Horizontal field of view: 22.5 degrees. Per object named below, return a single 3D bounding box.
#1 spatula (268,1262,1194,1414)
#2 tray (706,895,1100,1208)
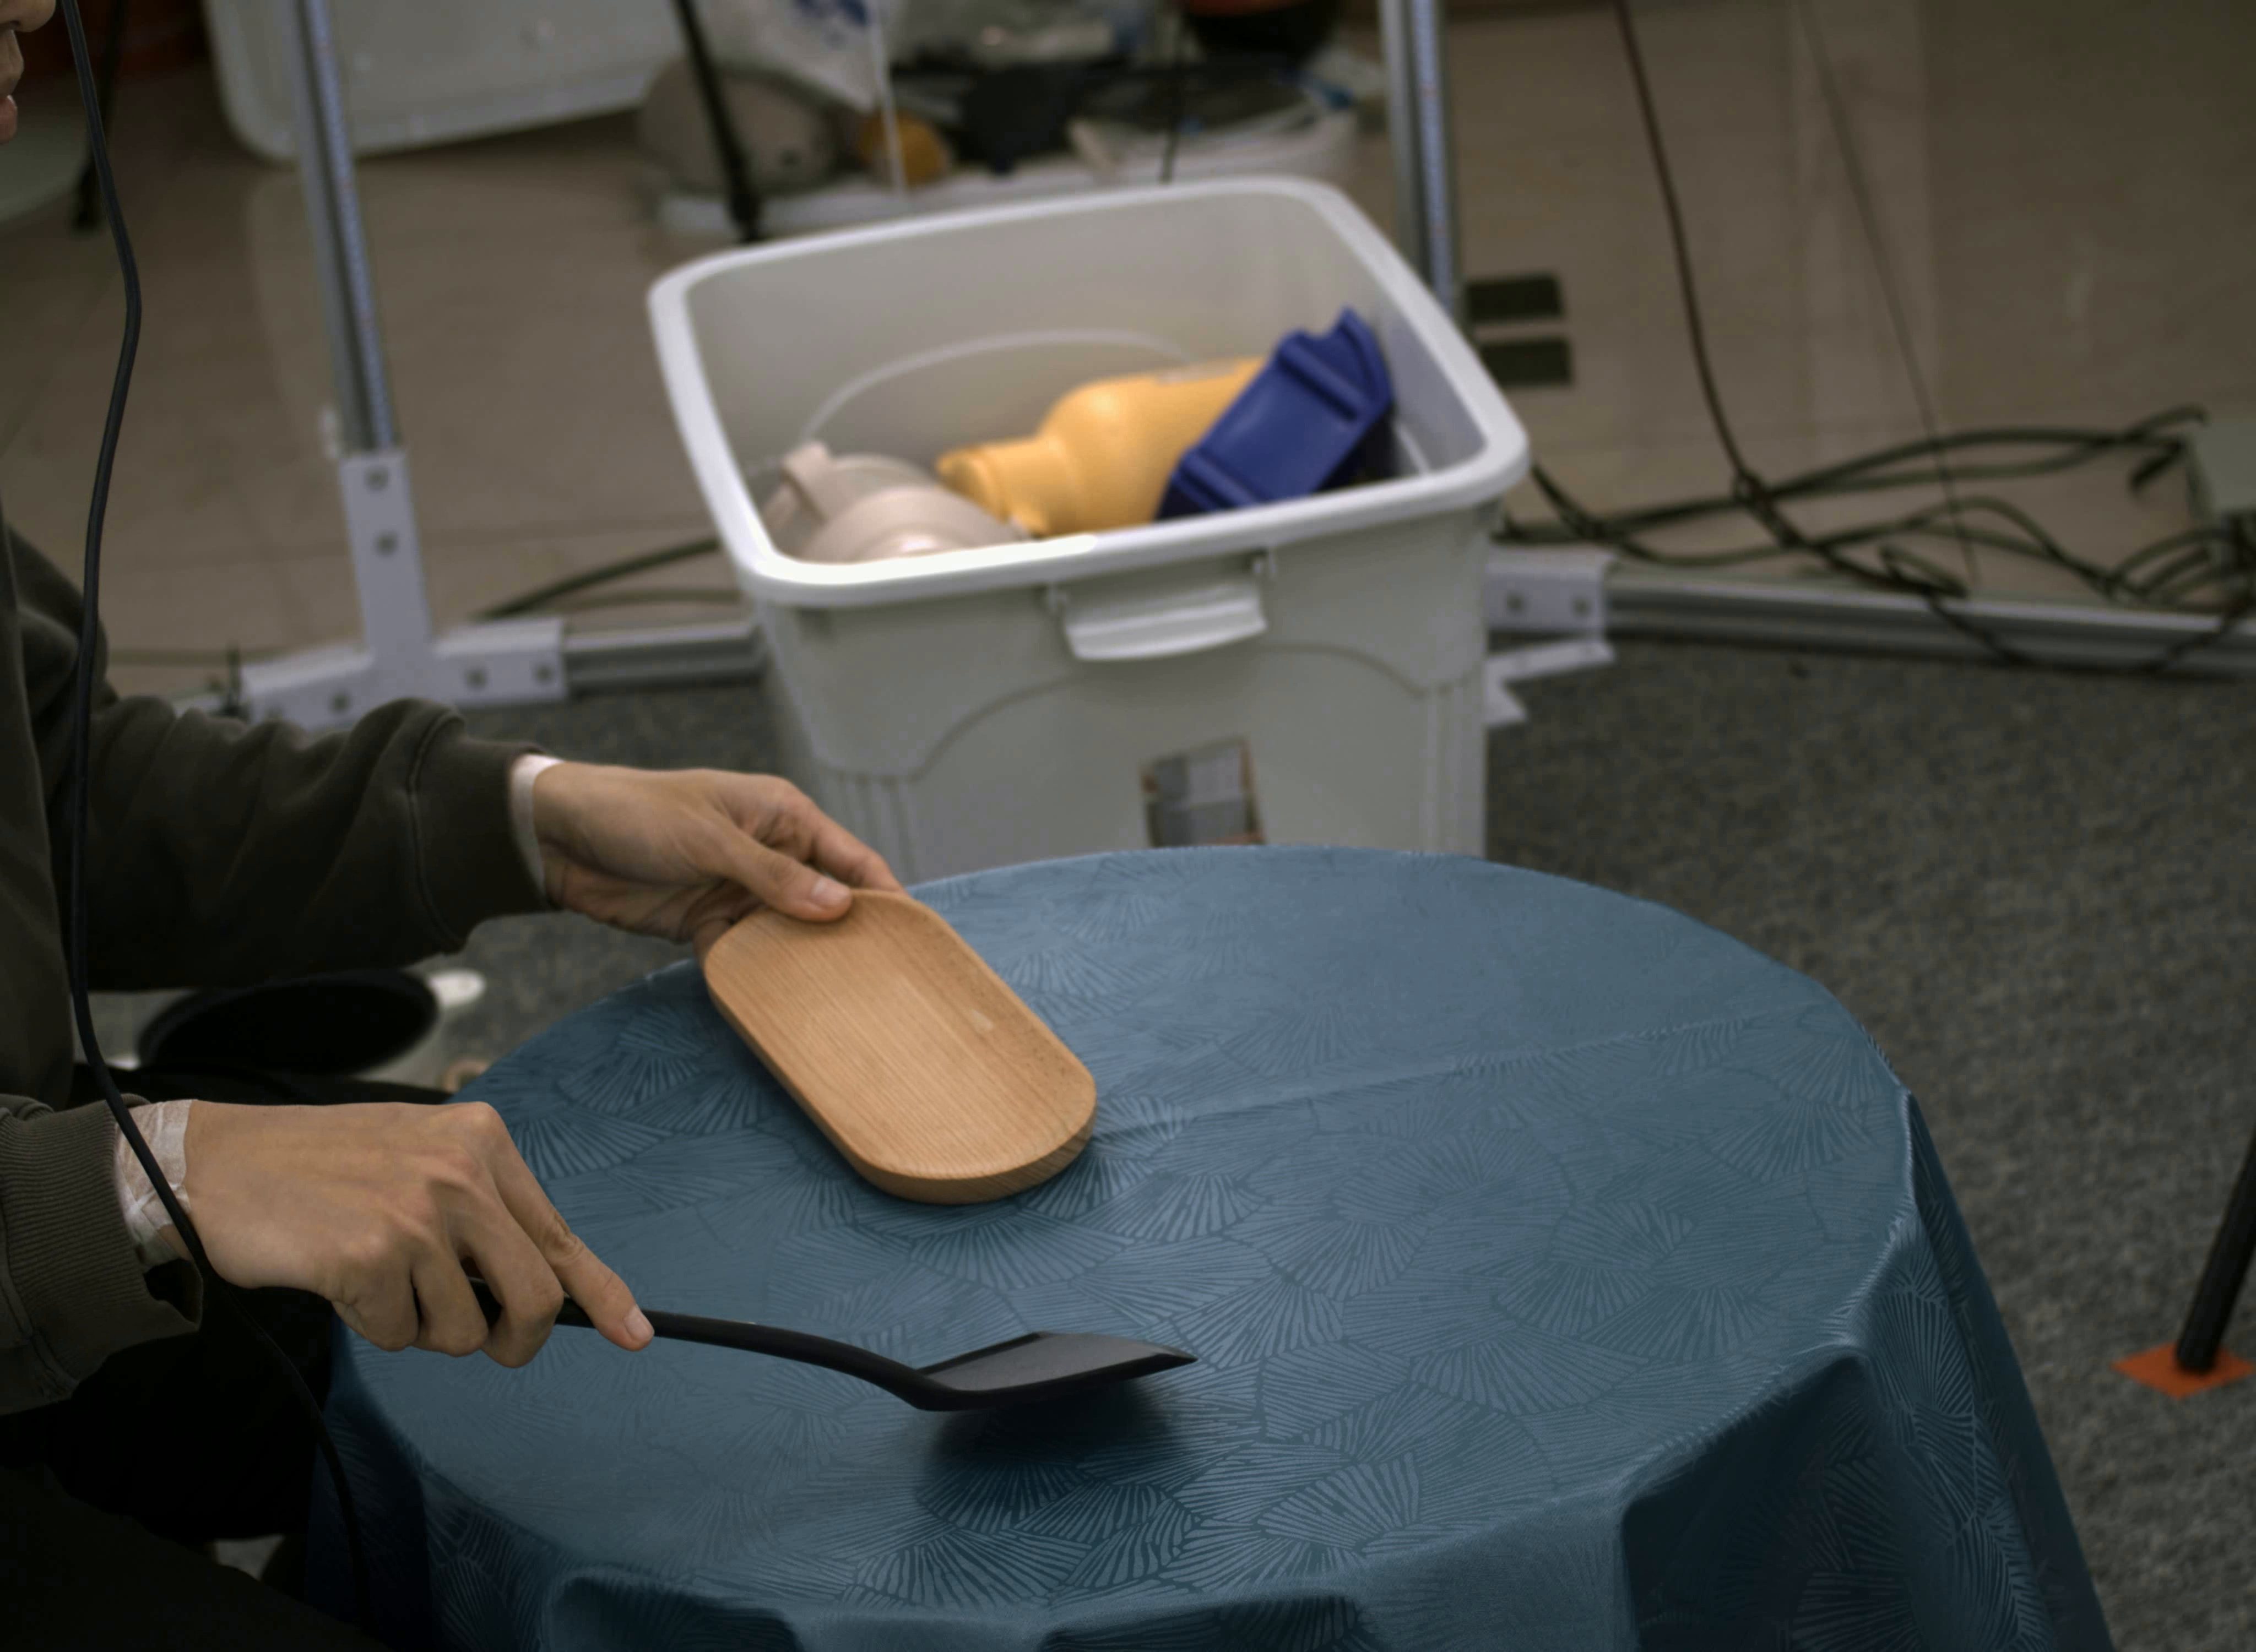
[{"bbox_3d":[-0.137,0.168,1.943,0.327,0.040,0.099,14,-8,-25],"label":"spatula"},{"bbox_3d":[-0.090,0.087,2.234,0.101,0.021,0.228,-20,35,-19],"label":"tray"}]
